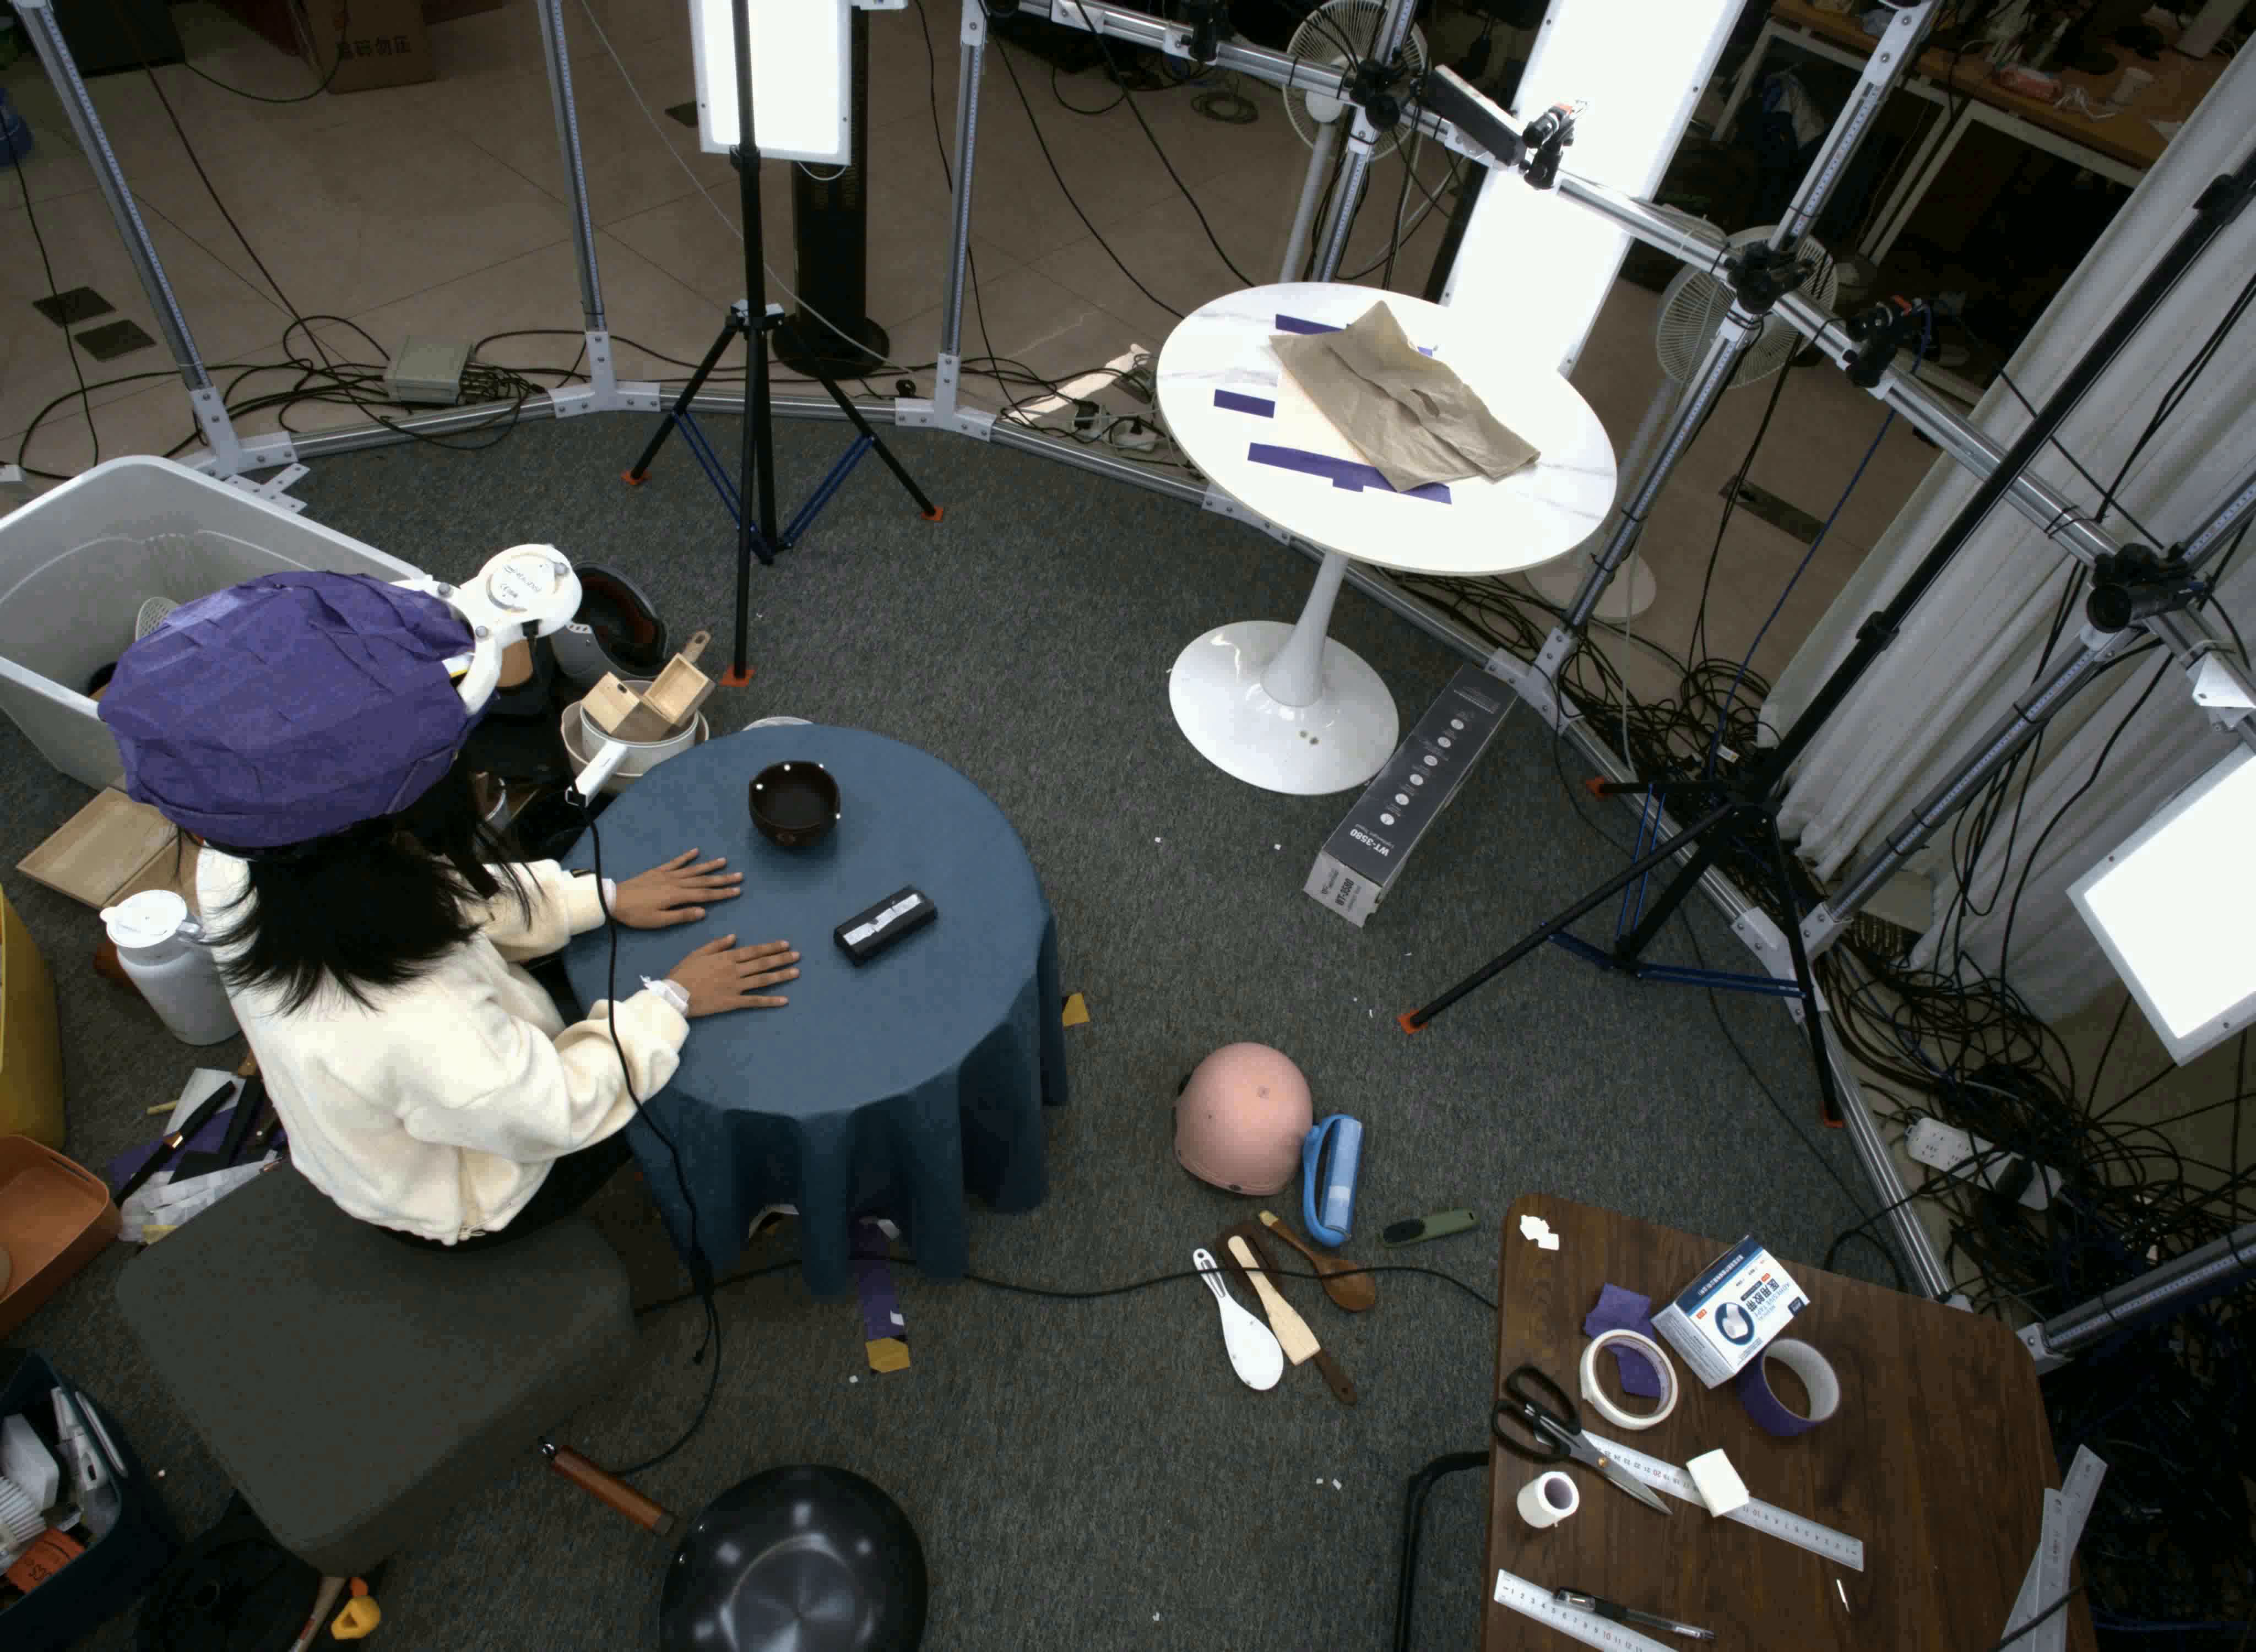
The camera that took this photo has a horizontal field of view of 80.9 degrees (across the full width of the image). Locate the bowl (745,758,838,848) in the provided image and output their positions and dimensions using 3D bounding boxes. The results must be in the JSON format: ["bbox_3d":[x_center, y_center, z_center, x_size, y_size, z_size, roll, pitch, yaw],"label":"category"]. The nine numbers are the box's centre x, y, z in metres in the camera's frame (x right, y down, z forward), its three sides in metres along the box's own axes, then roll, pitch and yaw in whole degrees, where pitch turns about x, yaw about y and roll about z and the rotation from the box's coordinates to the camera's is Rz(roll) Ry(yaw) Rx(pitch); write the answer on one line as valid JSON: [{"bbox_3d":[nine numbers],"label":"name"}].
[{"bbox_3d":[-0.437,-0.023,1.686,0.118,0.071,0.116,7,53,-8],"label":"bowl"}]

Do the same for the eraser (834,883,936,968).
[{"bbox_3d":[-0.306,0.122,1.642,0.126,0.031,0.052,-35,66,-31],"label":"eraser"}]
